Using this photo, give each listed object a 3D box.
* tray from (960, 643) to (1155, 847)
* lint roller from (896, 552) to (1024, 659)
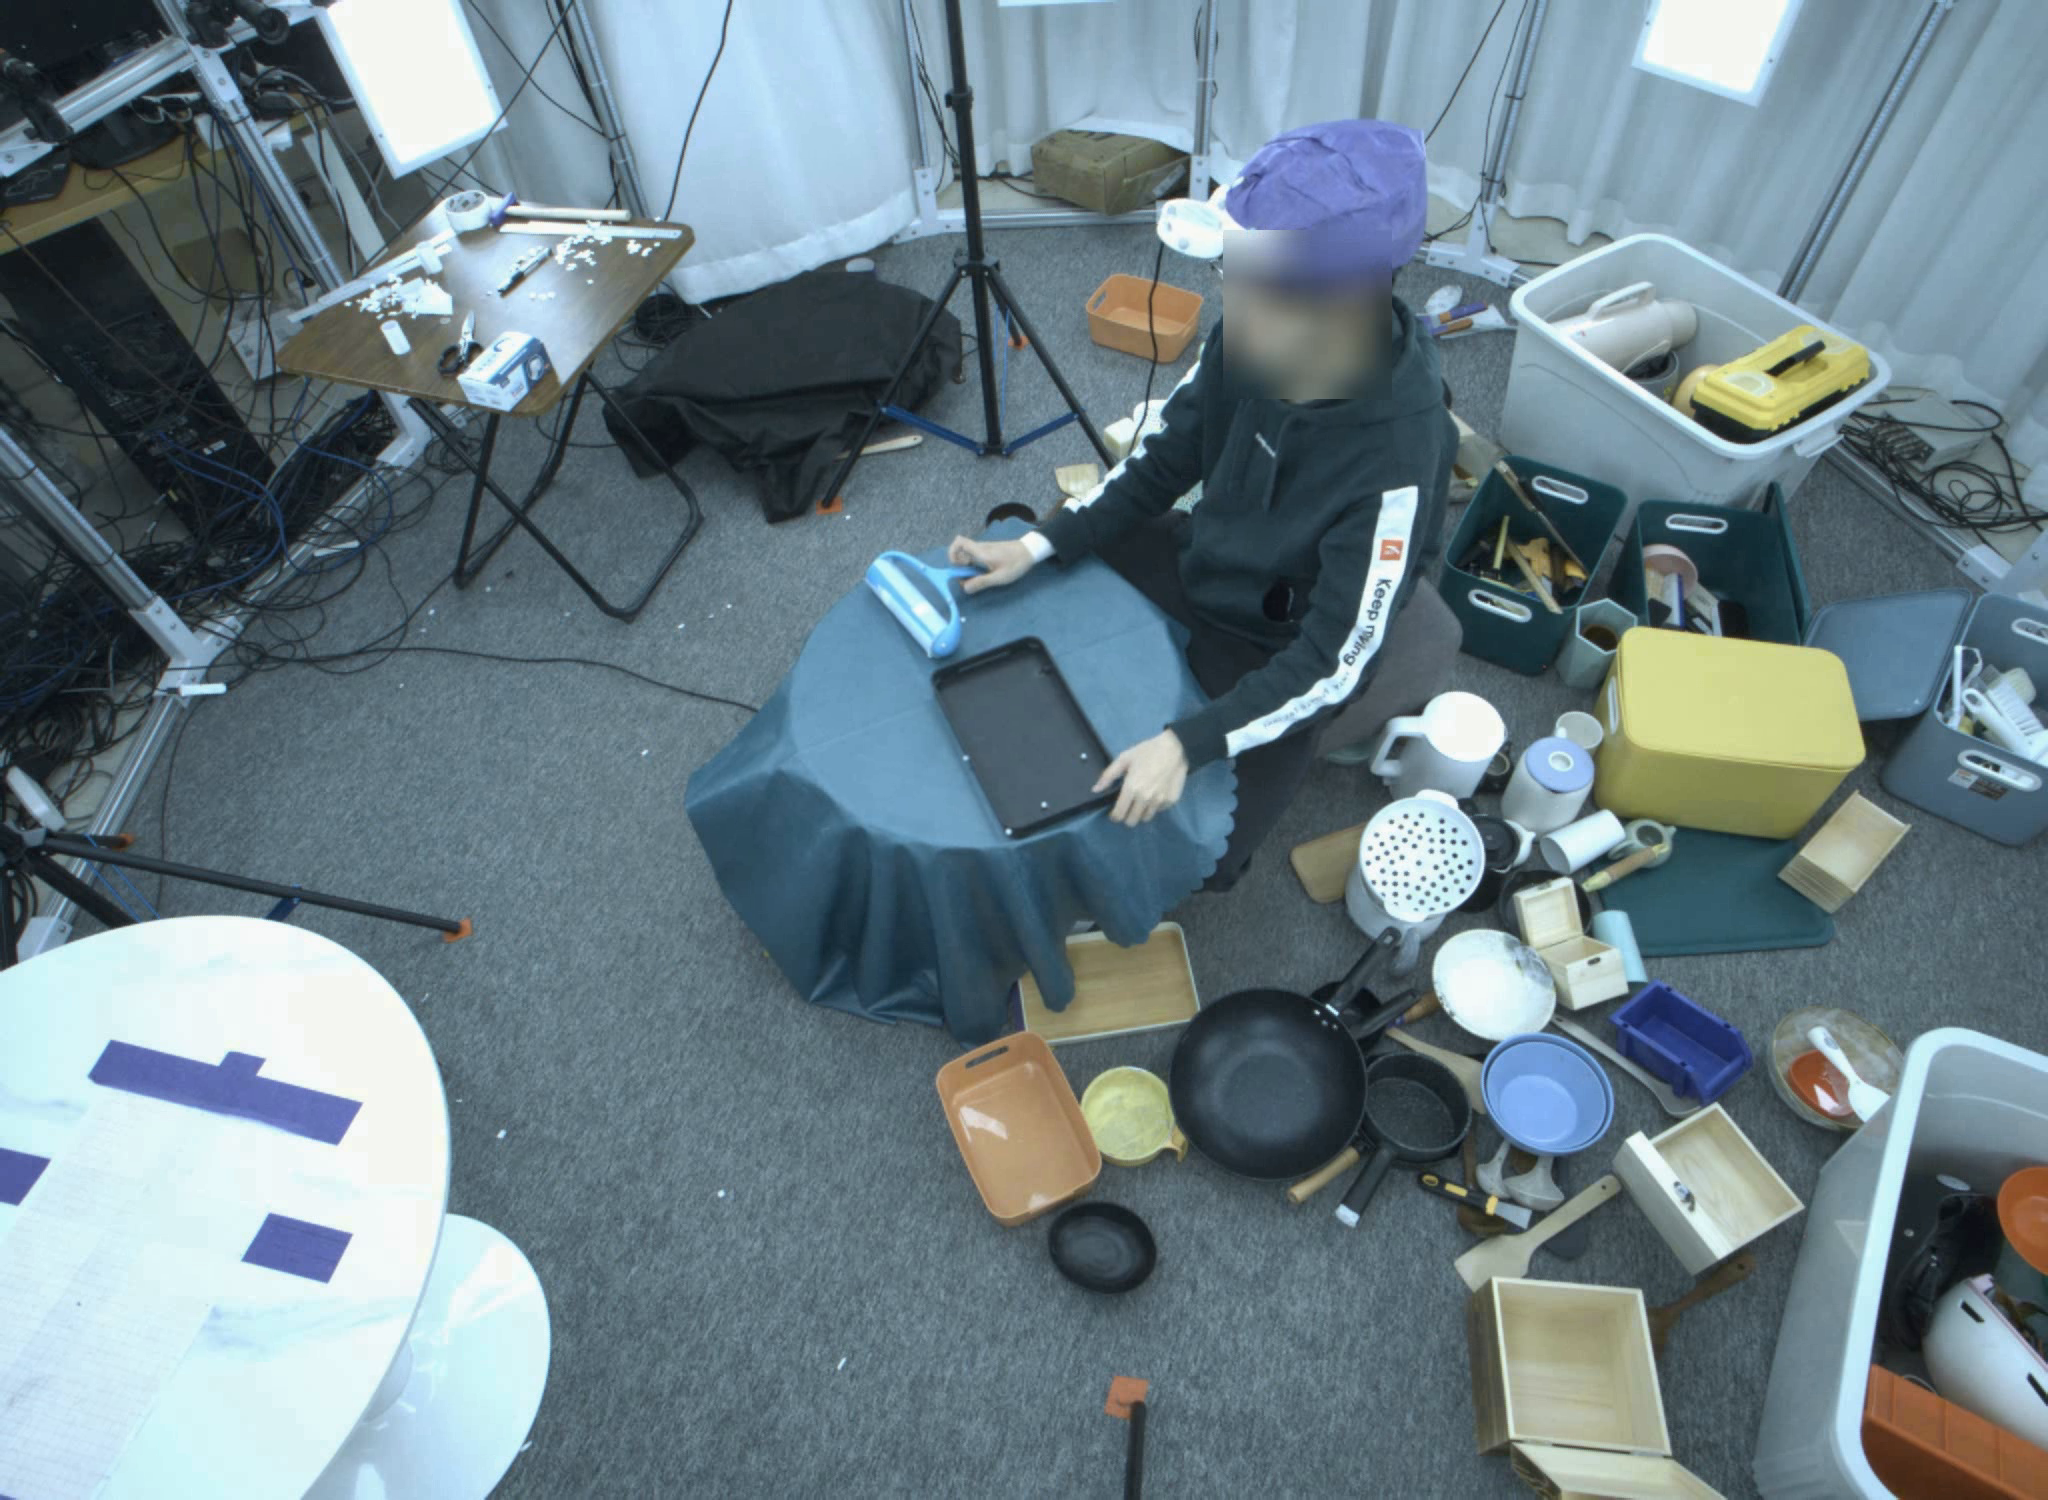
[{"bbox_3d":[0.043,-0.014,1.770,0.185,0.037,0.312,-20,55,-12],"label":"tray"},{"bbox_3d":[-0.081,-0.253,1.930,0.181,0.069,0.224,-33,58,-17],"label":"lint roller"}]
